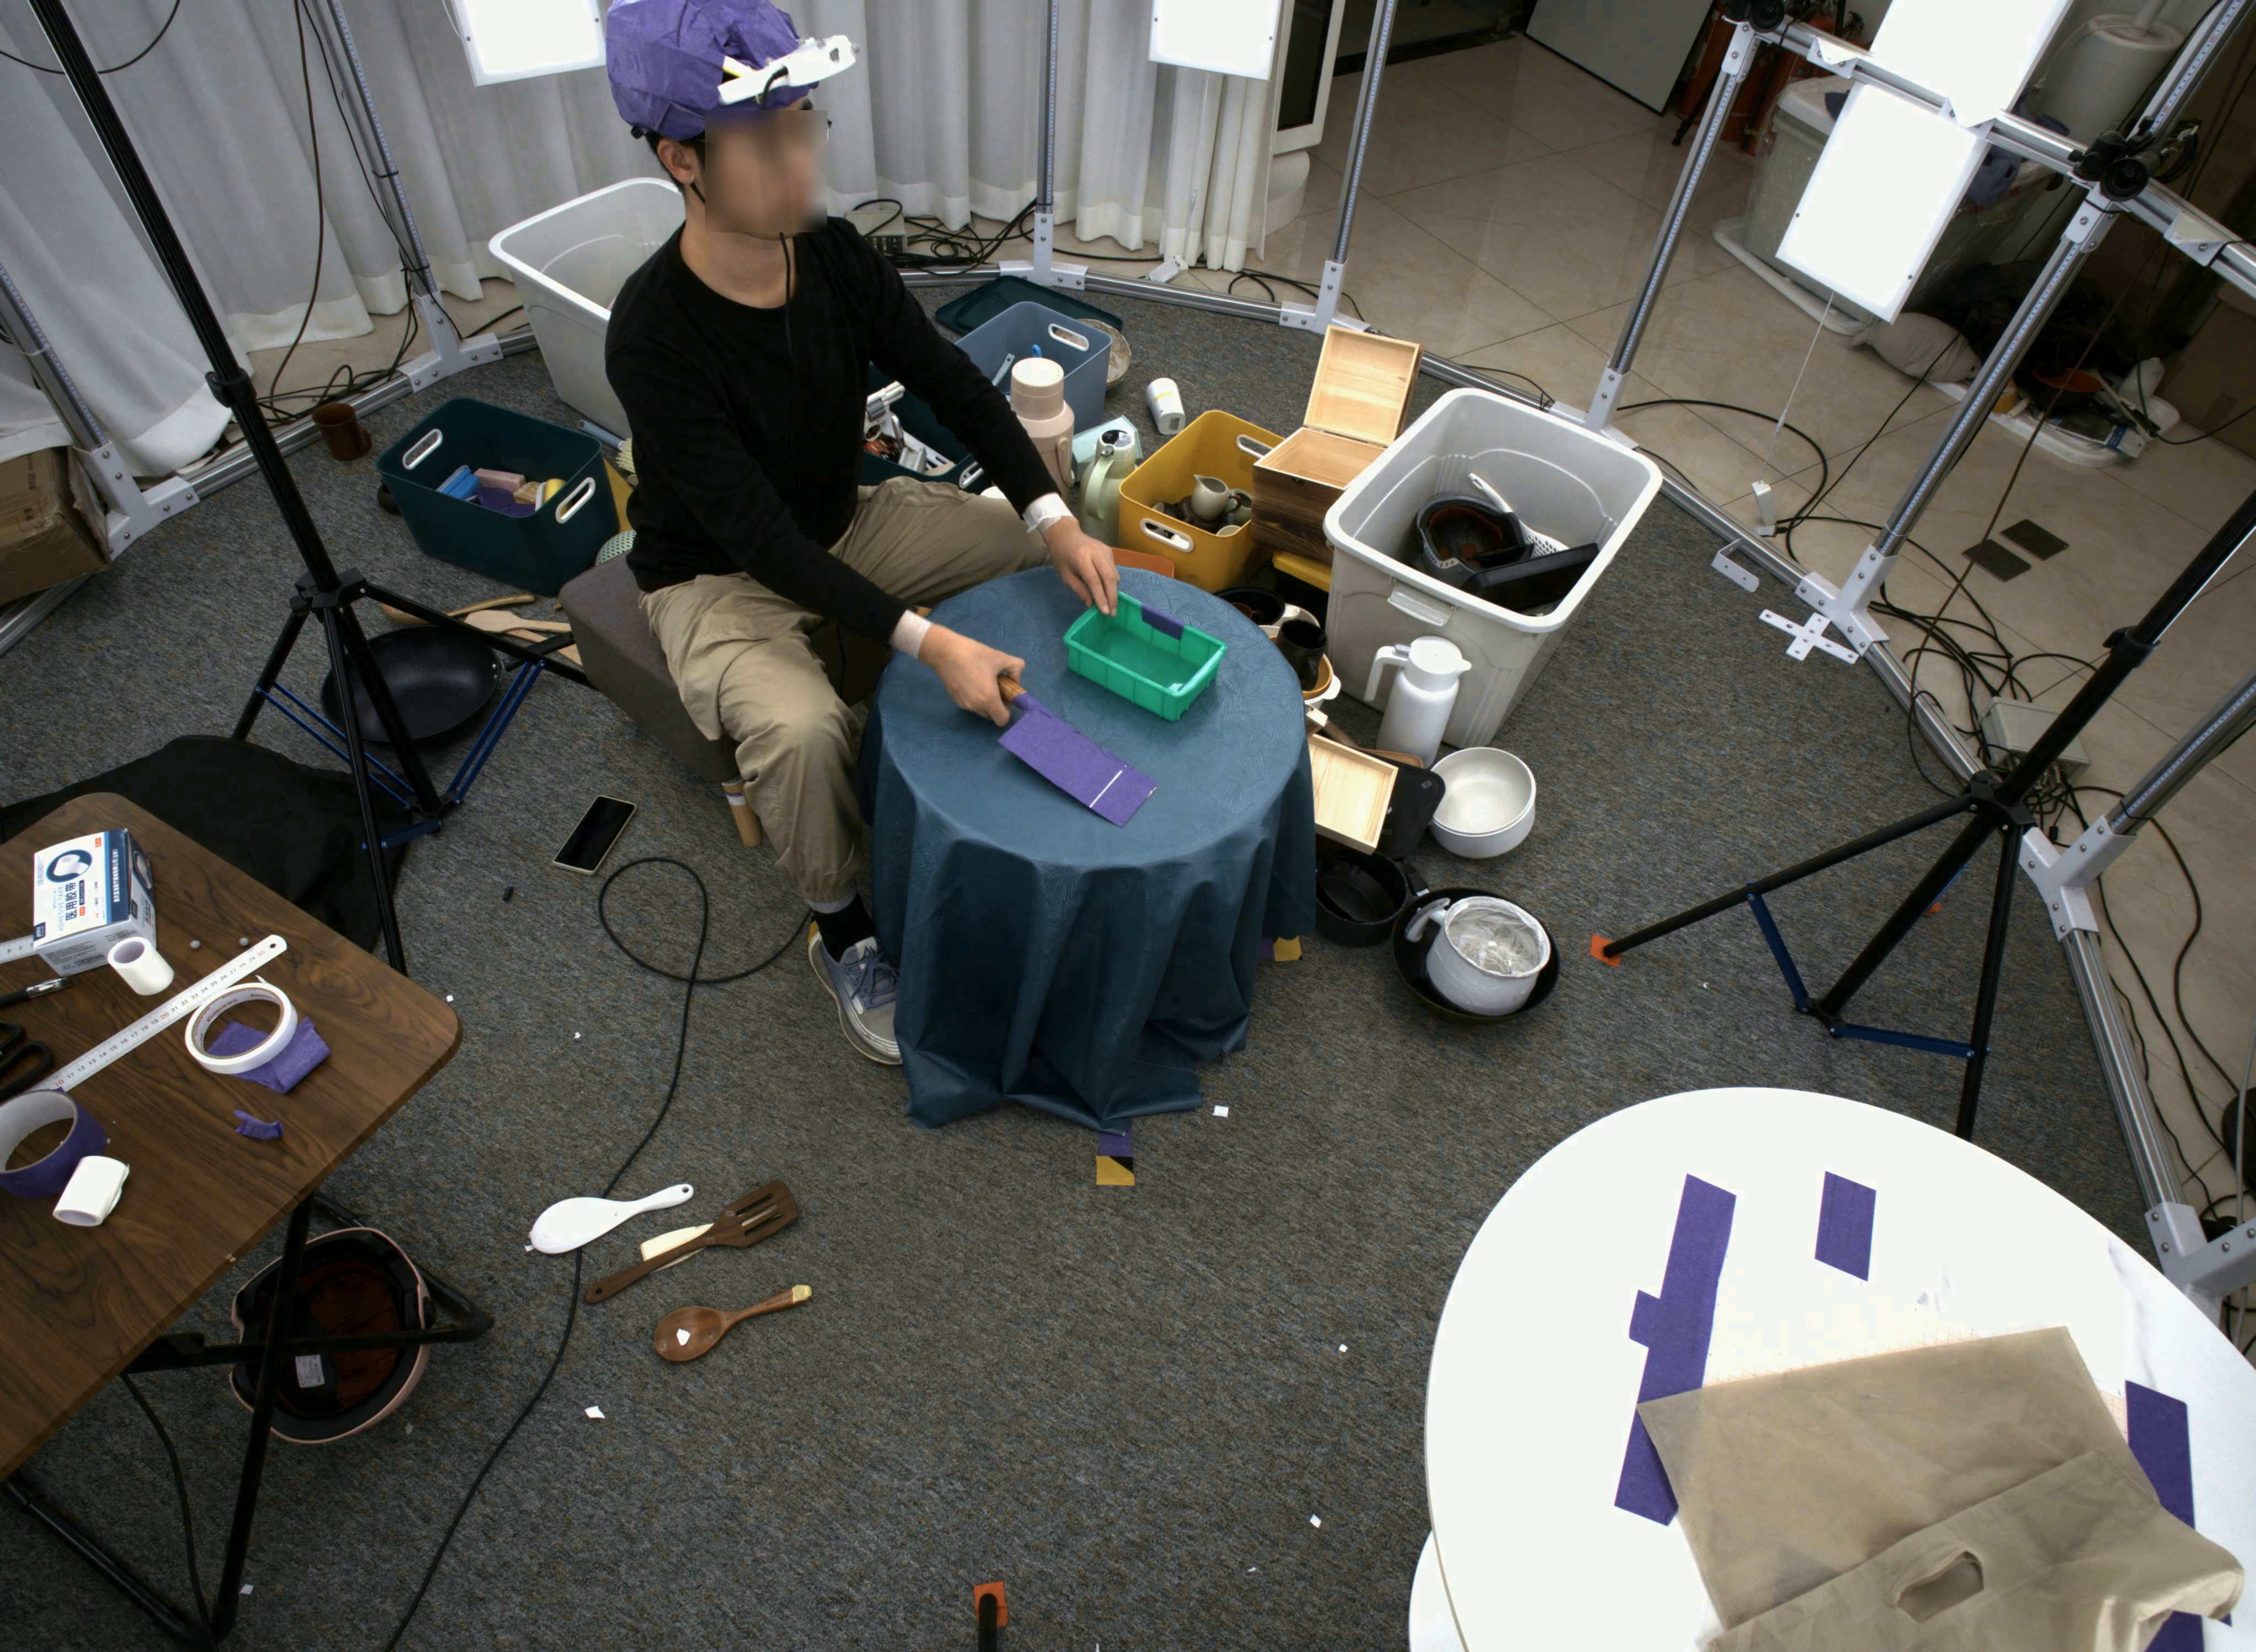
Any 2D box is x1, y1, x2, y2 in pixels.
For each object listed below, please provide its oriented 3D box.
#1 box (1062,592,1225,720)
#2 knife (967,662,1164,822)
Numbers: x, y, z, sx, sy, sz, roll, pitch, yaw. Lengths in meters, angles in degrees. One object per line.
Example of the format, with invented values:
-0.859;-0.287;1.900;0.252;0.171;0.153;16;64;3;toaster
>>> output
0.021;-0.243;1.842;0.212;0.064;0.140;27;51;20;box
-0.104;-0.115;1.726;0.318;0.031;0.105;33;54;15;knife
